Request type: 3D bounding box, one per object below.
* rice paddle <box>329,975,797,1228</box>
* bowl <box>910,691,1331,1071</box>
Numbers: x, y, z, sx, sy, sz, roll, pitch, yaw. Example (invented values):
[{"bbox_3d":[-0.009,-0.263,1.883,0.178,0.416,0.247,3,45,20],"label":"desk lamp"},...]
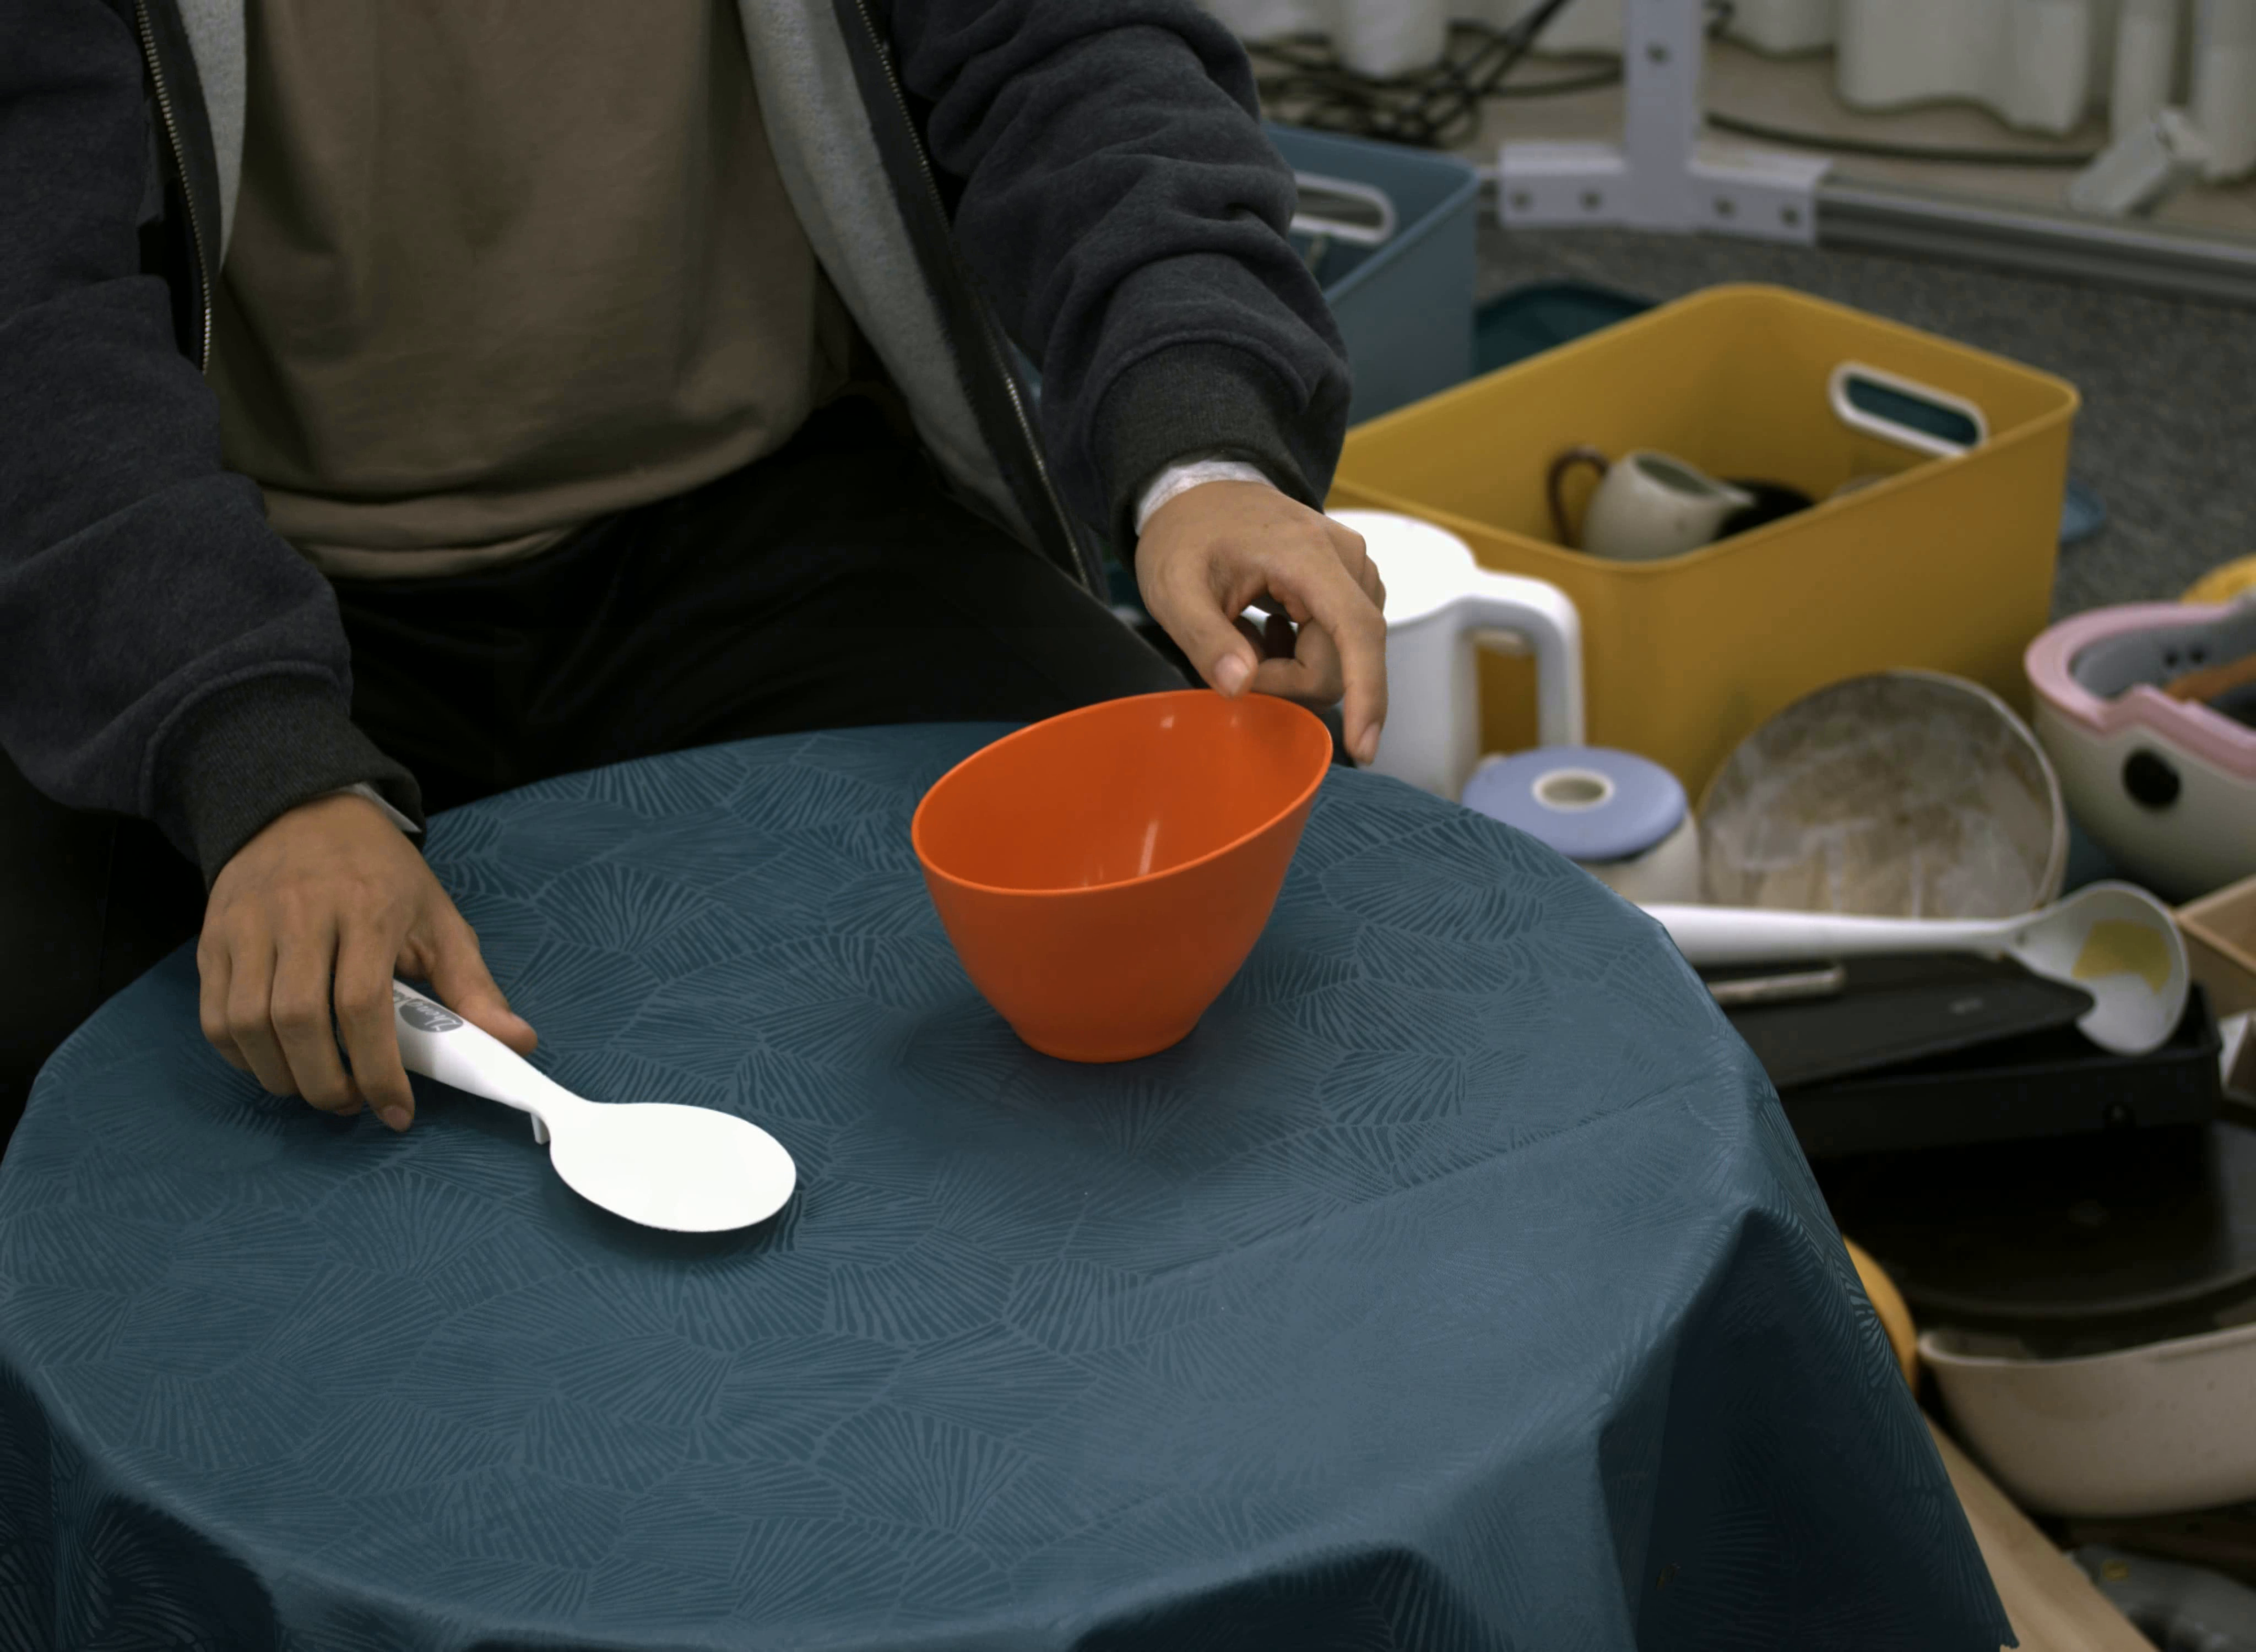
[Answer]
[{"bbox_3d":[-0.192,0.095,1.901,0.205,0.029,0.069,21,36,38],"label":"rice paddle"},{"bbox_3d":[0.000,0.025,1.941,0.147,0.103,0.150,-4,28,2],"label":"bowl"}]
